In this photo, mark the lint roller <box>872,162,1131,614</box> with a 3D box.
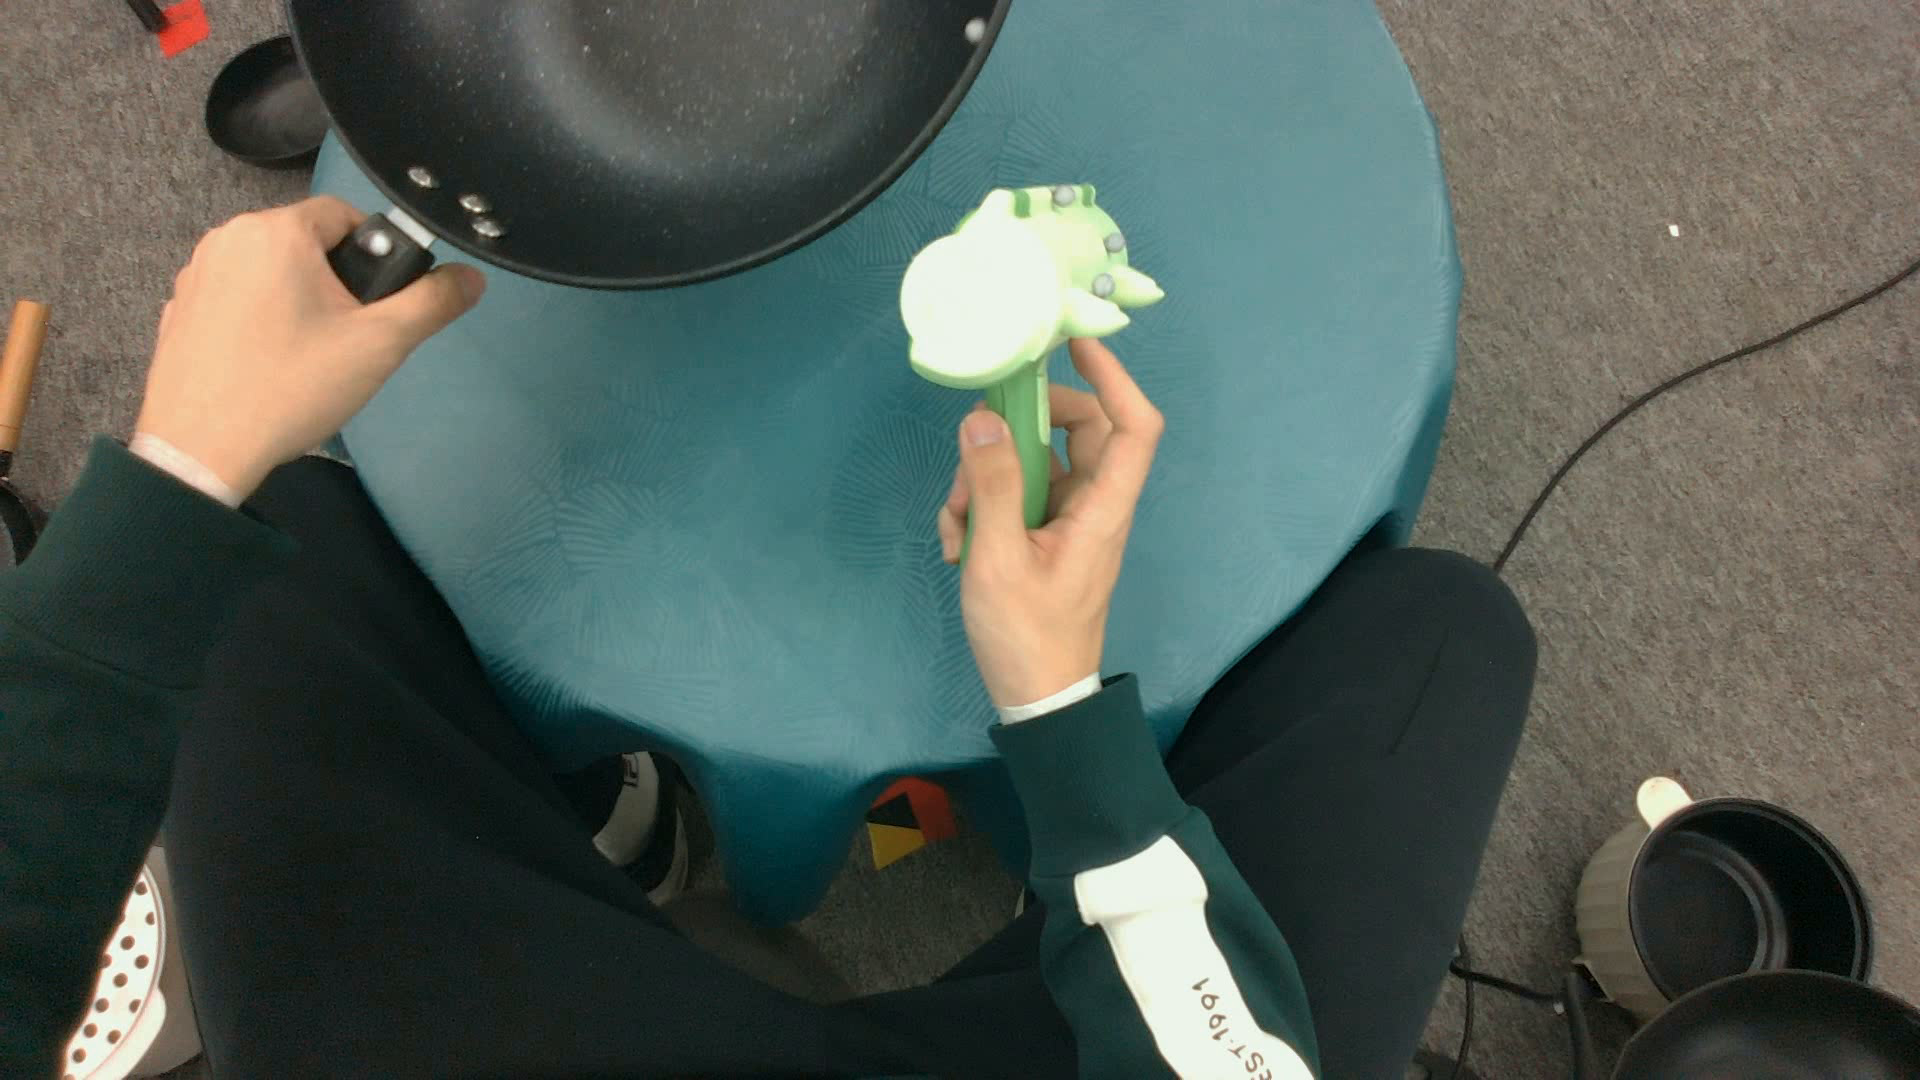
[{"bbox_3d":[0.027,-0.058,0.558,0.082,0.199,0.183,-2,105,14],"label":"lint roller"}]

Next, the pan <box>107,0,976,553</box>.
[{"bbox_3d":[-0.172,-0.191,0.553,0.310,0.112,0.476,36,96,10],"label":"pan"}]
